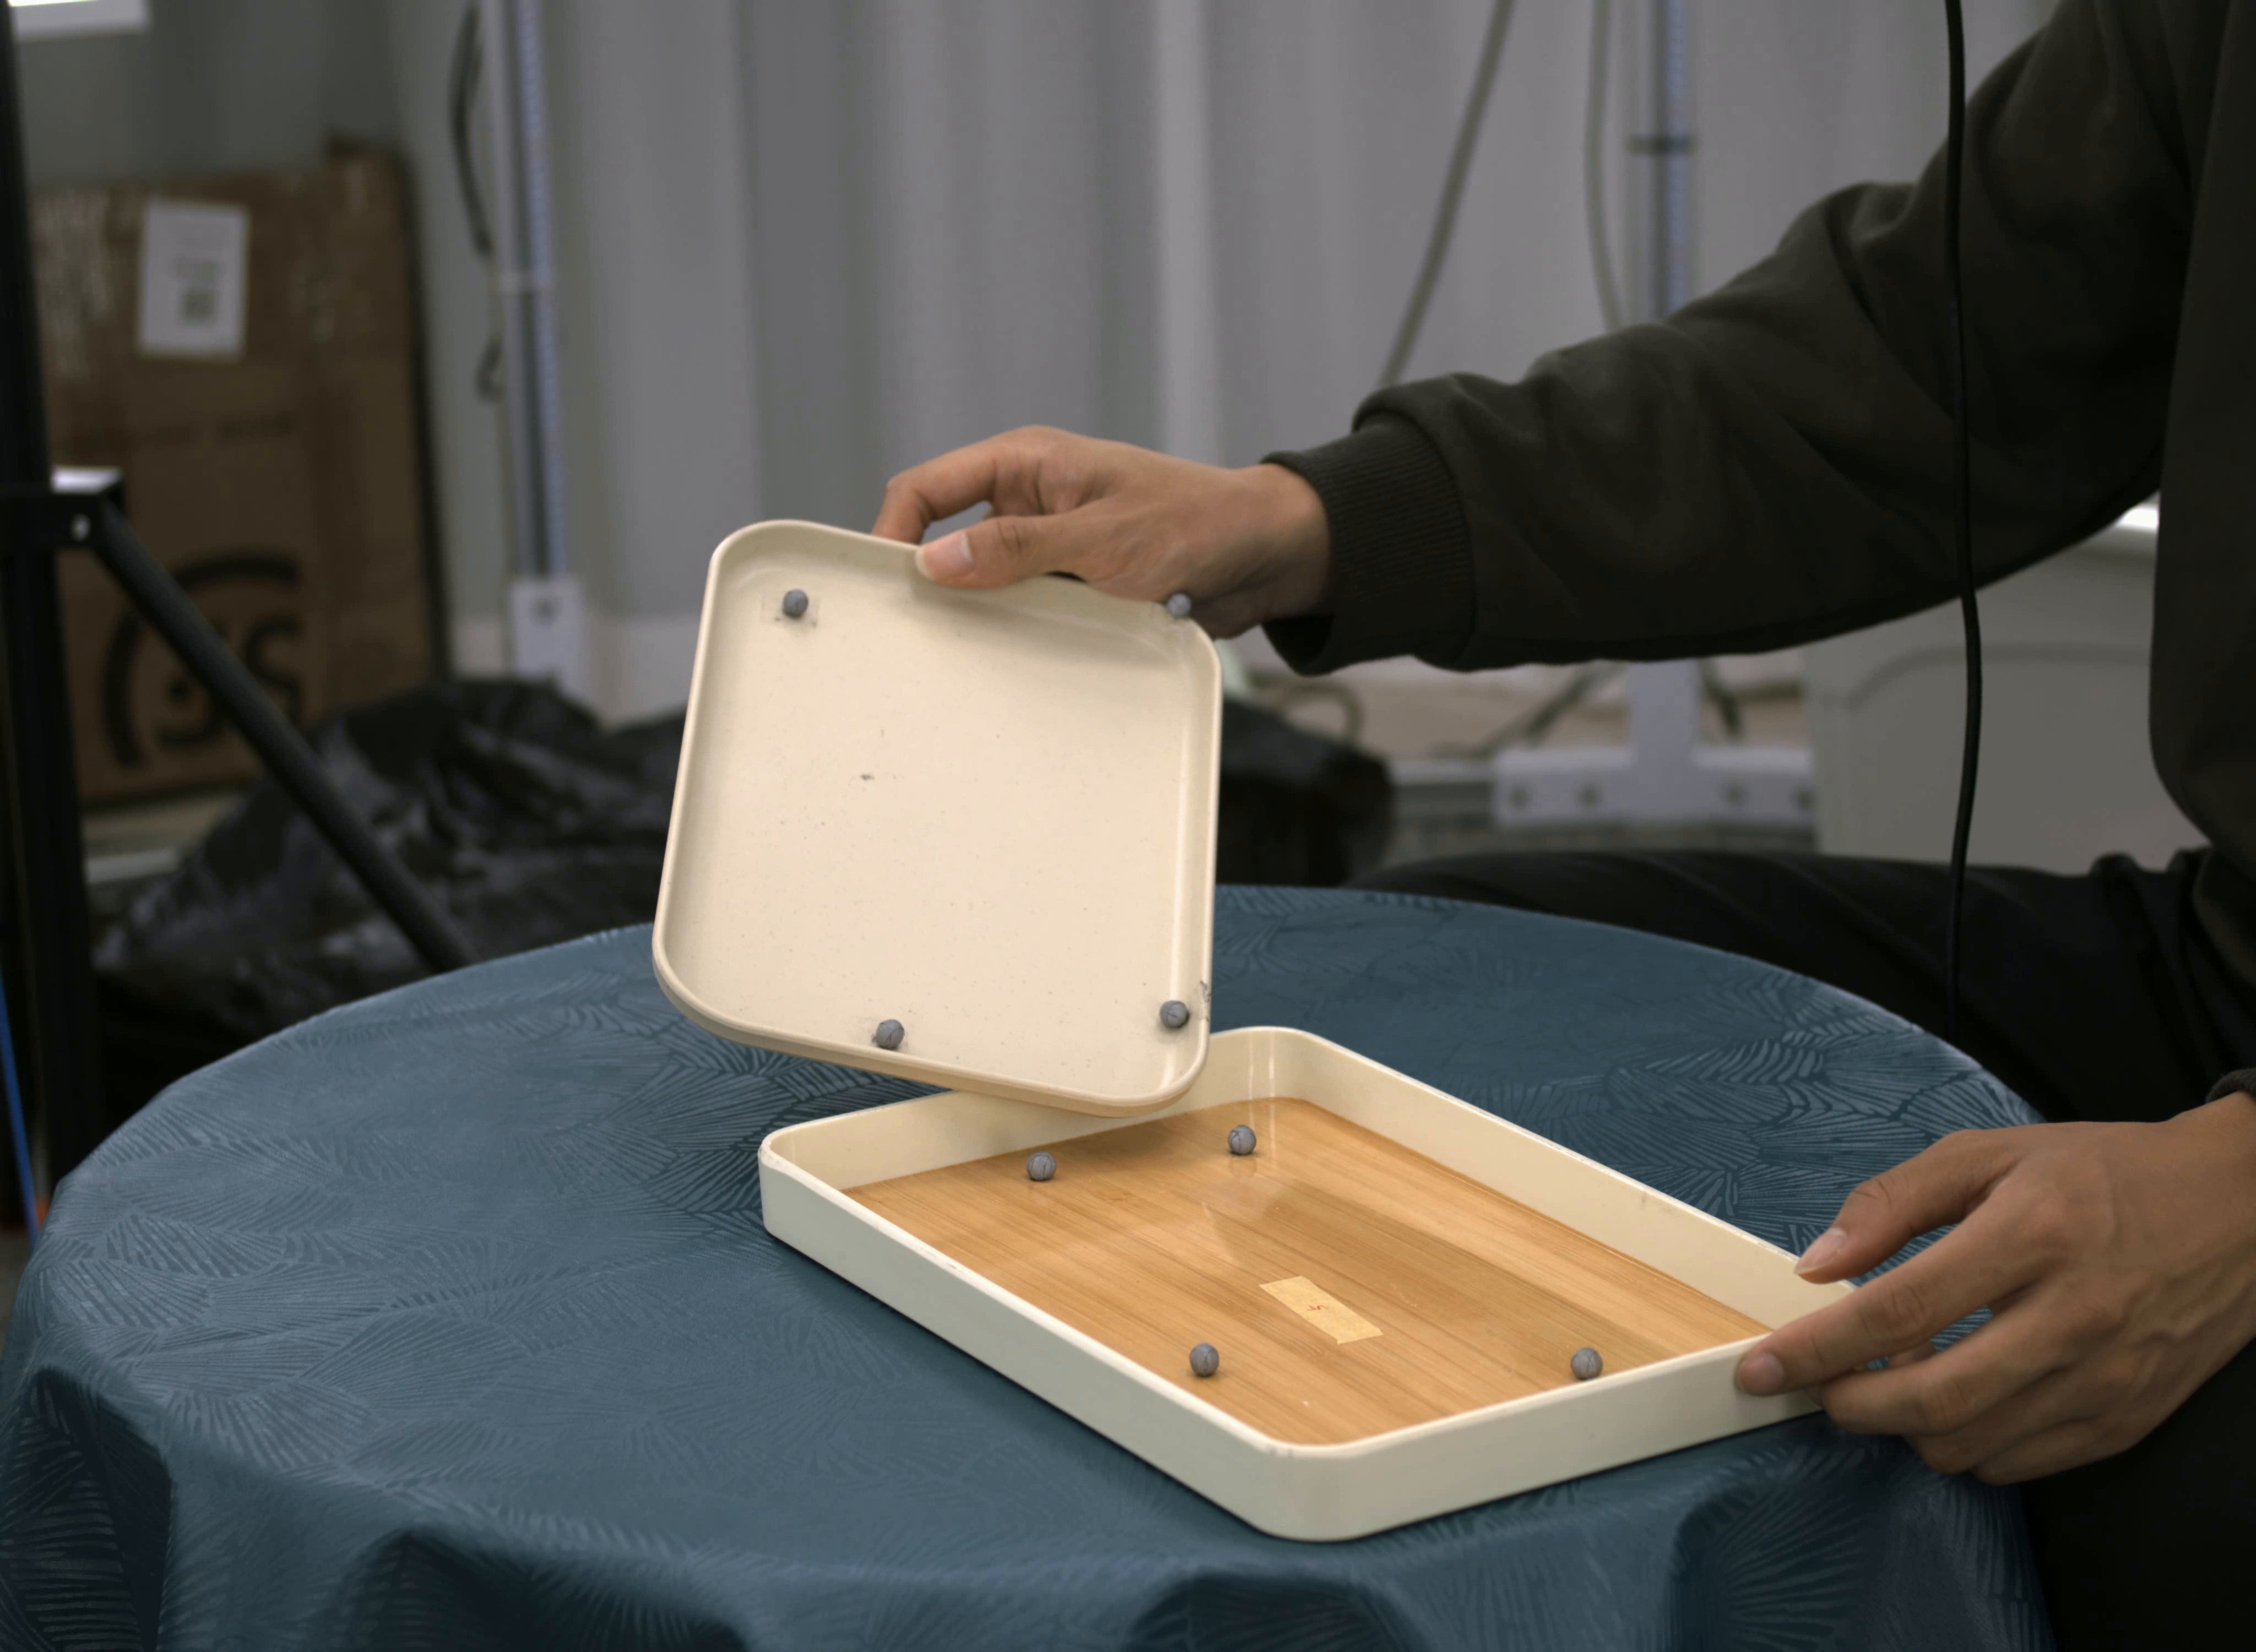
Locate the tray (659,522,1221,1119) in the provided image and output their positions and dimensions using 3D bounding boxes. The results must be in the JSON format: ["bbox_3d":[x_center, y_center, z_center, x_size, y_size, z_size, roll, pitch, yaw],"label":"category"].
[{"bbox_3d":[-0.055,-0.003,1.653,0.170,0.017,0.241,11,41,-6],"label":"tray"}]

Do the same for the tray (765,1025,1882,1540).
[{"bbox_3d":[0.047,0.120,1.463,0.187,0.027,0.307,-11,18,-29],"label":"tray"}]
